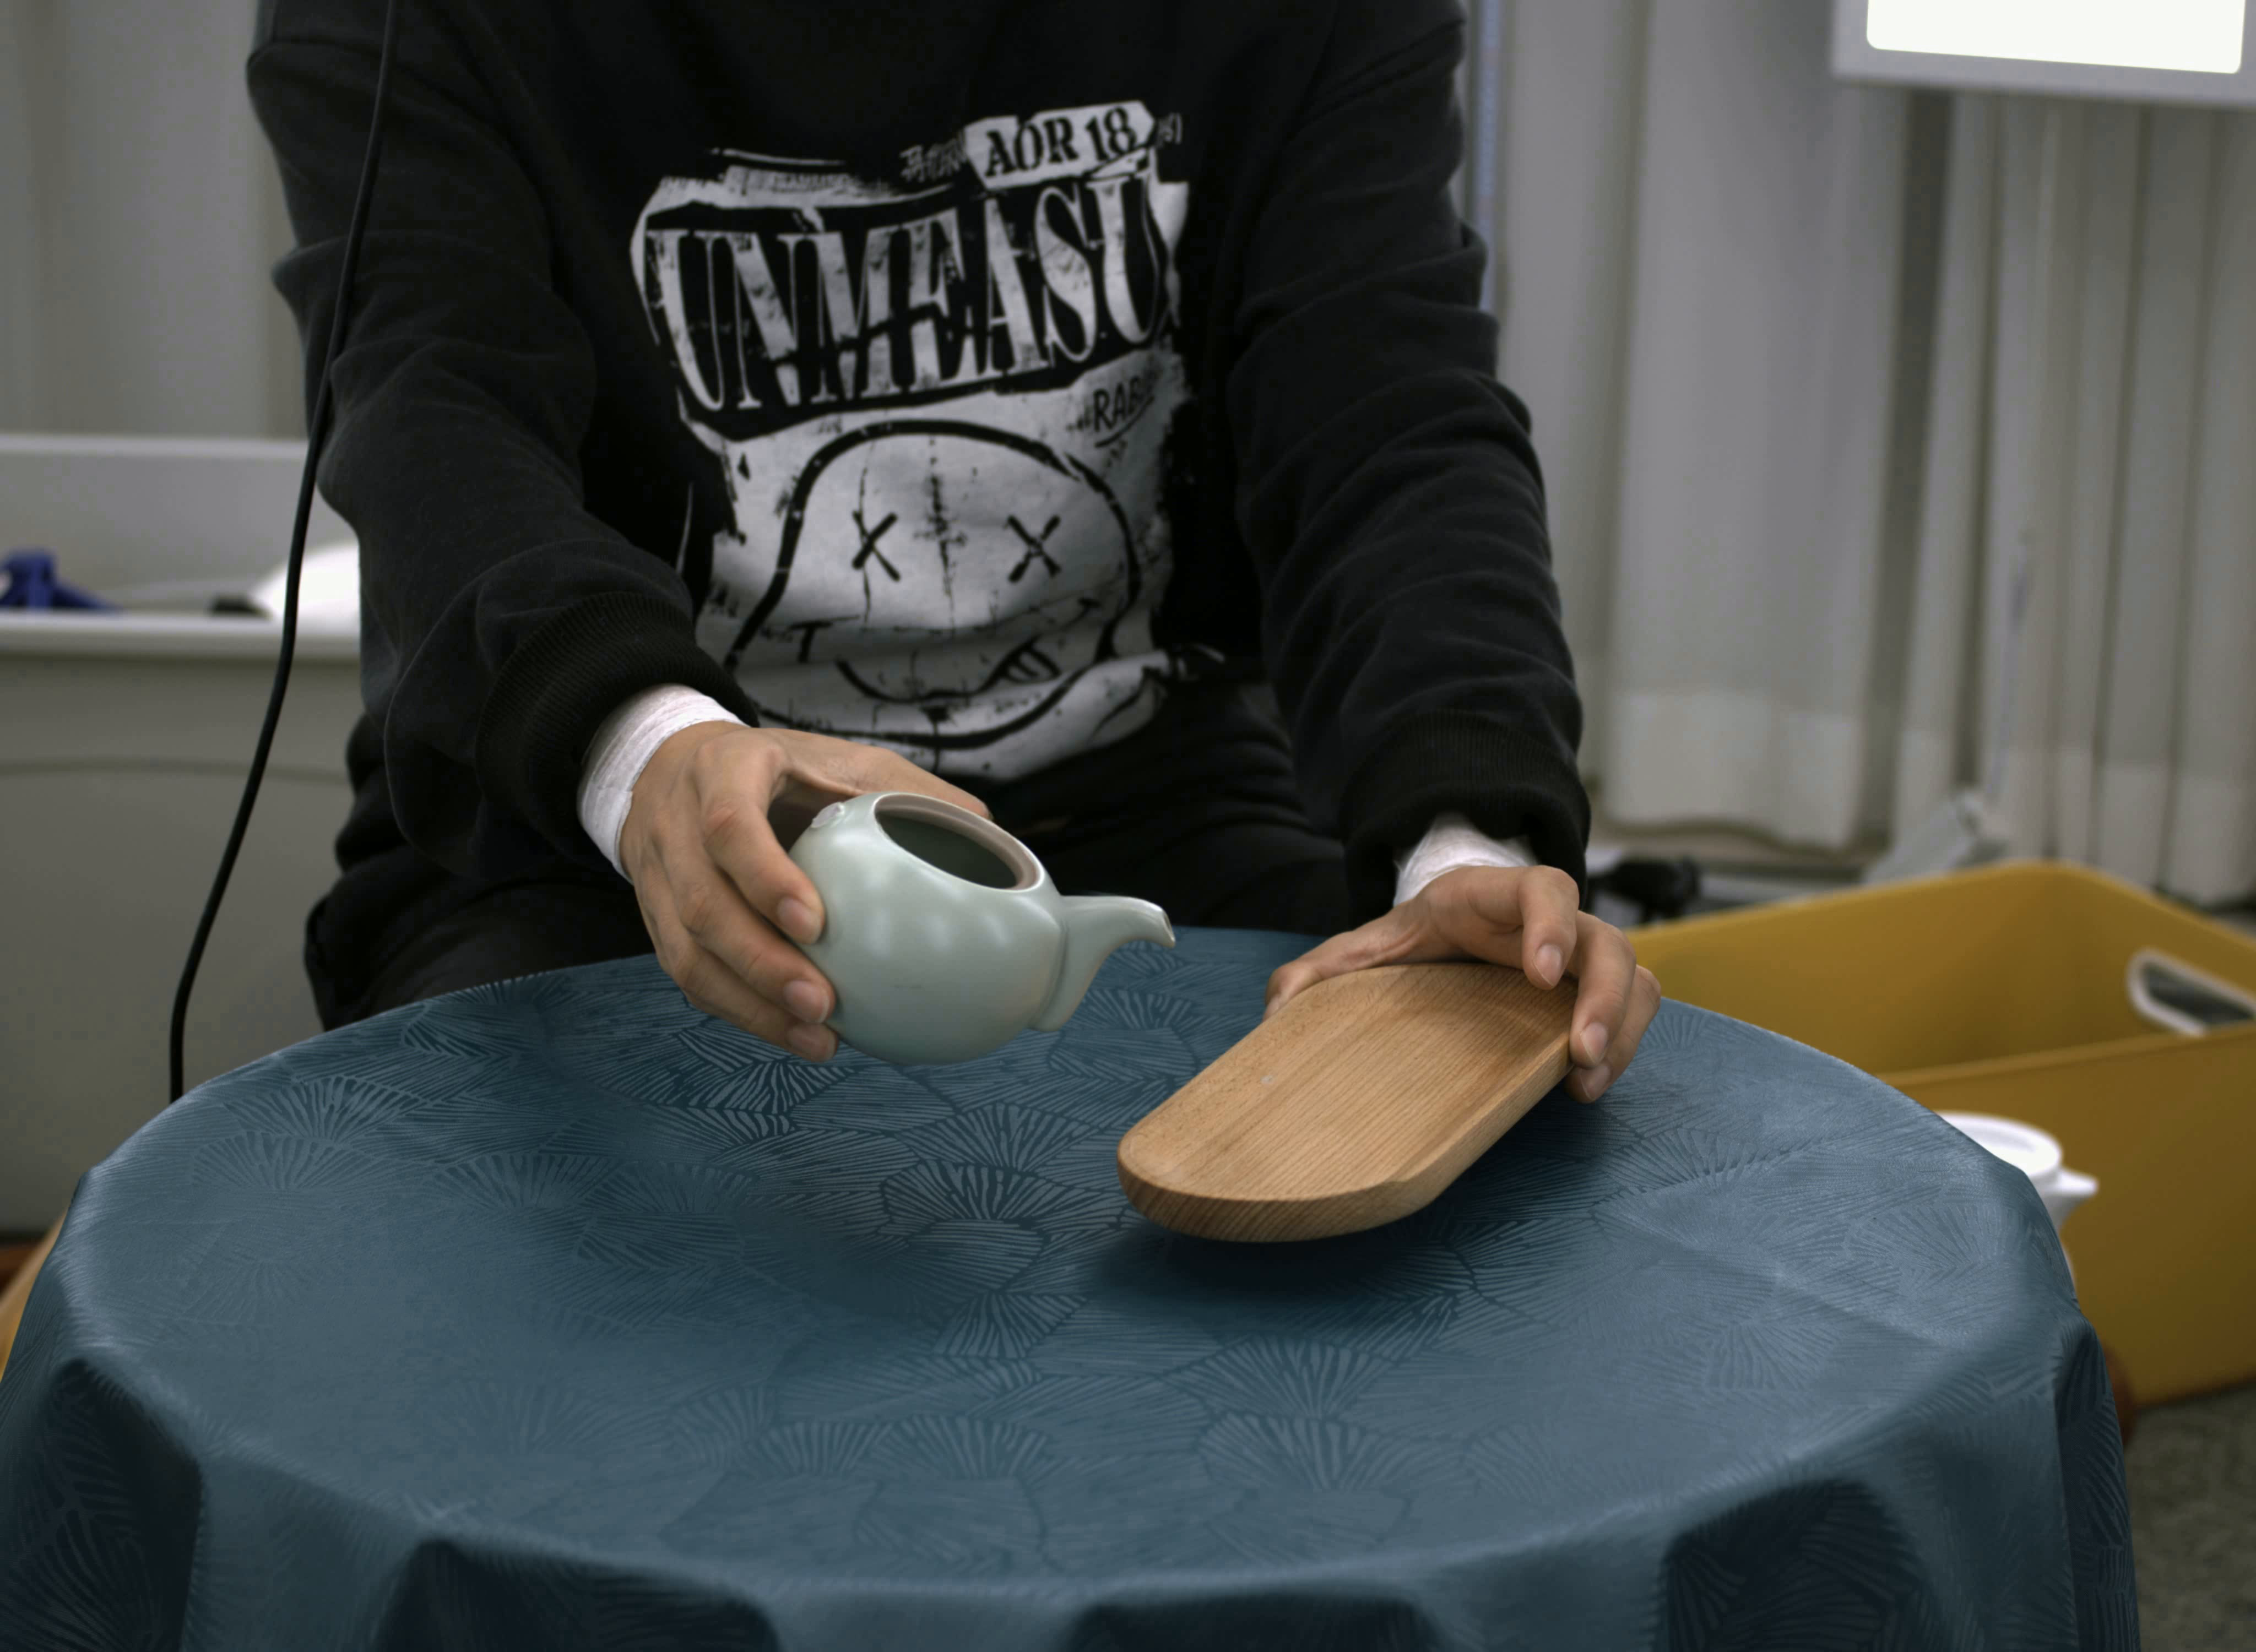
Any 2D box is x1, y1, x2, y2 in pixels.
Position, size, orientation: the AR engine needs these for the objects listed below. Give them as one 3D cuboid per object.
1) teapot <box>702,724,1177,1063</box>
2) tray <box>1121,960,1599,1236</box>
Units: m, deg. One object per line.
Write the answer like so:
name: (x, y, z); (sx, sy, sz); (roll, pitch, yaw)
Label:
teapot: (-0.063, 0.028, 1.556); (0.144, 0.075, 0.088); (26, 19, -7)
tray: (0.074, 0.082, 1.623); (0.100, 0.020, 0.231); (5, 16, 22)
